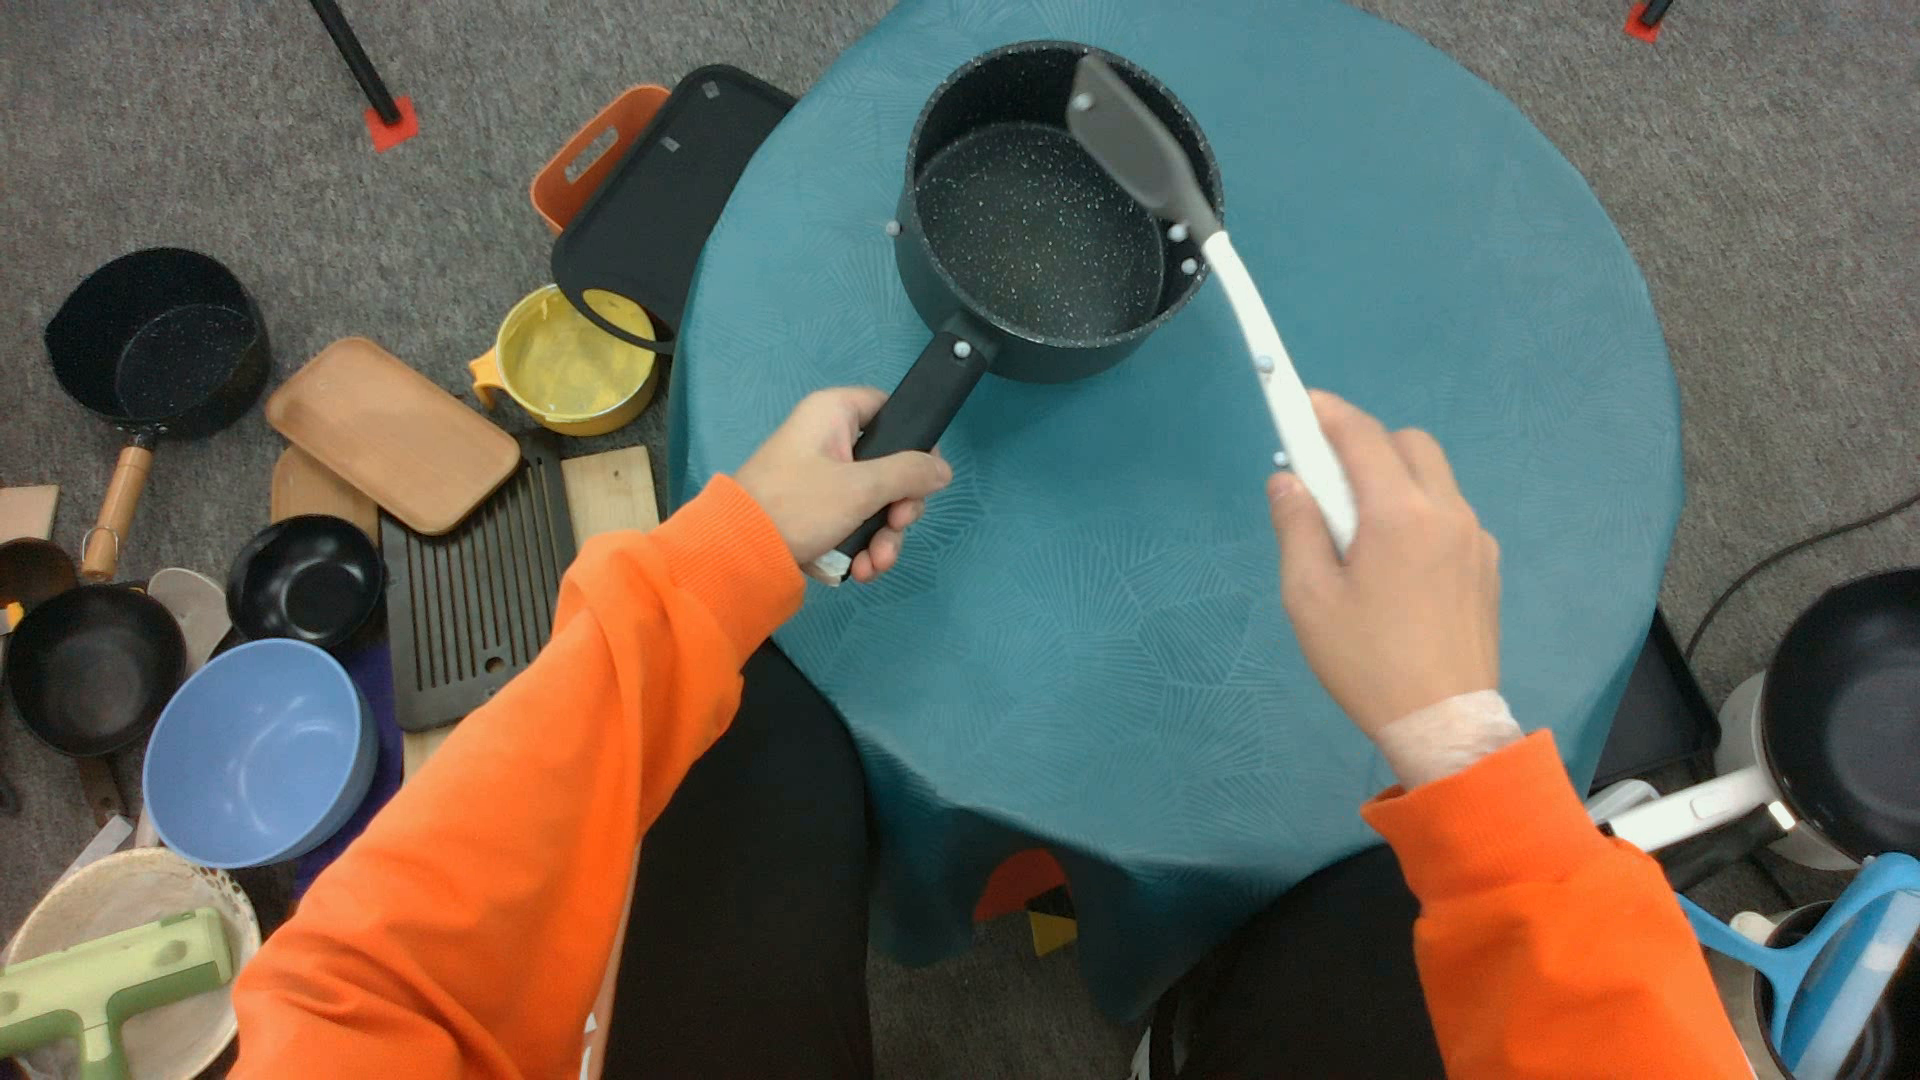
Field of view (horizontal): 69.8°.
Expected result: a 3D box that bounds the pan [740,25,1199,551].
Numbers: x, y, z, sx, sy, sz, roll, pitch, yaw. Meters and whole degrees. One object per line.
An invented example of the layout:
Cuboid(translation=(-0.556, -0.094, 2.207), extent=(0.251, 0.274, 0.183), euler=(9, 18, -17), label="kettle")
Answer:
Cuboid(translation=(-0.006, -0.121, 0.720), extent=(0.172, 0.086, 0.330), euler=(35, 71, -1), label="pan")

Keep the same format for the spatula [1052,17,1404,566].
Cuboid(translation=(0.118, -0.119, 0.636), extent=(0.032, 0.058, 0.288), euler=(-18, 70, -22), label="spatula")
